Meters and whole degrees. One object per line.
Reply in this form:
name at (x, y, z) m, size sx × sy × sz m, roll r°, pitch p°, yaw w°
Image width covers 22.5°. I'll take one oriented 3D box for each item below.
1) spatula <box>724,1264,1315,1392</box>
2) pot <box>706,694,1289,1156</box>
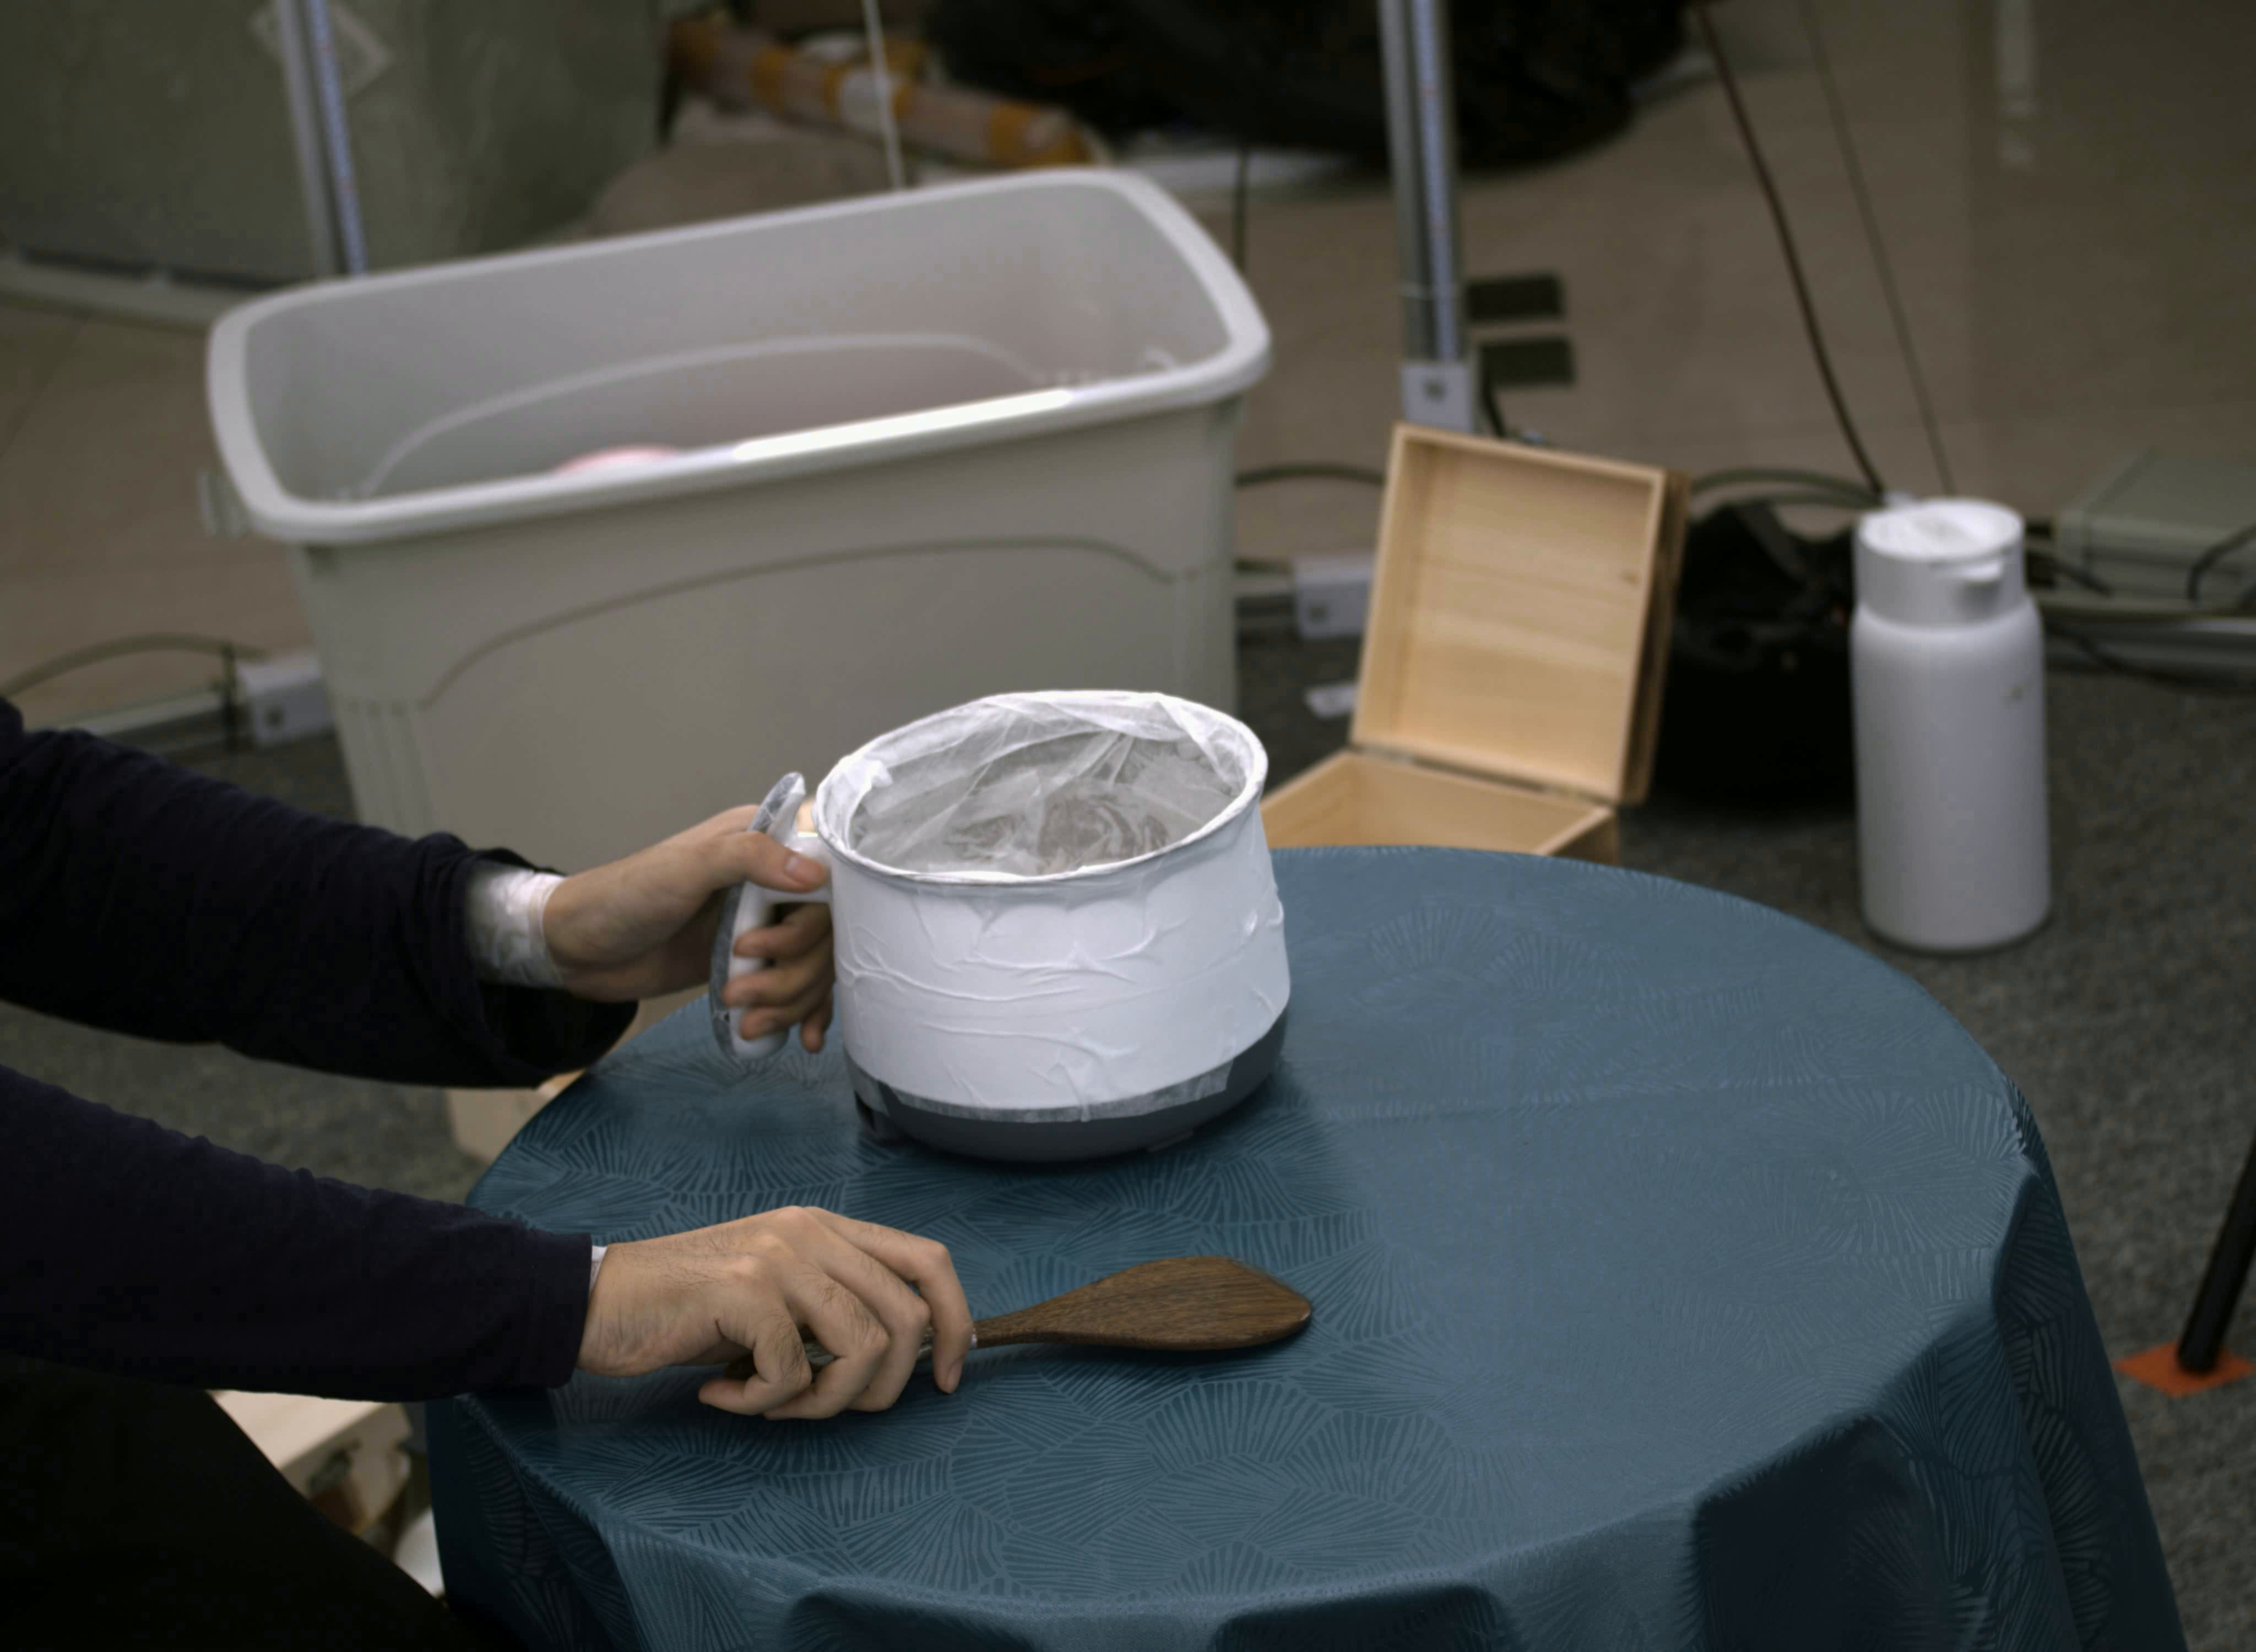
spatula at (-0.039, 0.184, 2.045) m, size 0.215 × 0.009 × 0.071 m, roll -8°, pitch 19°, yaw -8°
pot at (-0.054, 0.039, 2.211) m, size 0.233 × 0.138 × 0.176 m, roll 0°, pitch 23°, yaw 11°
